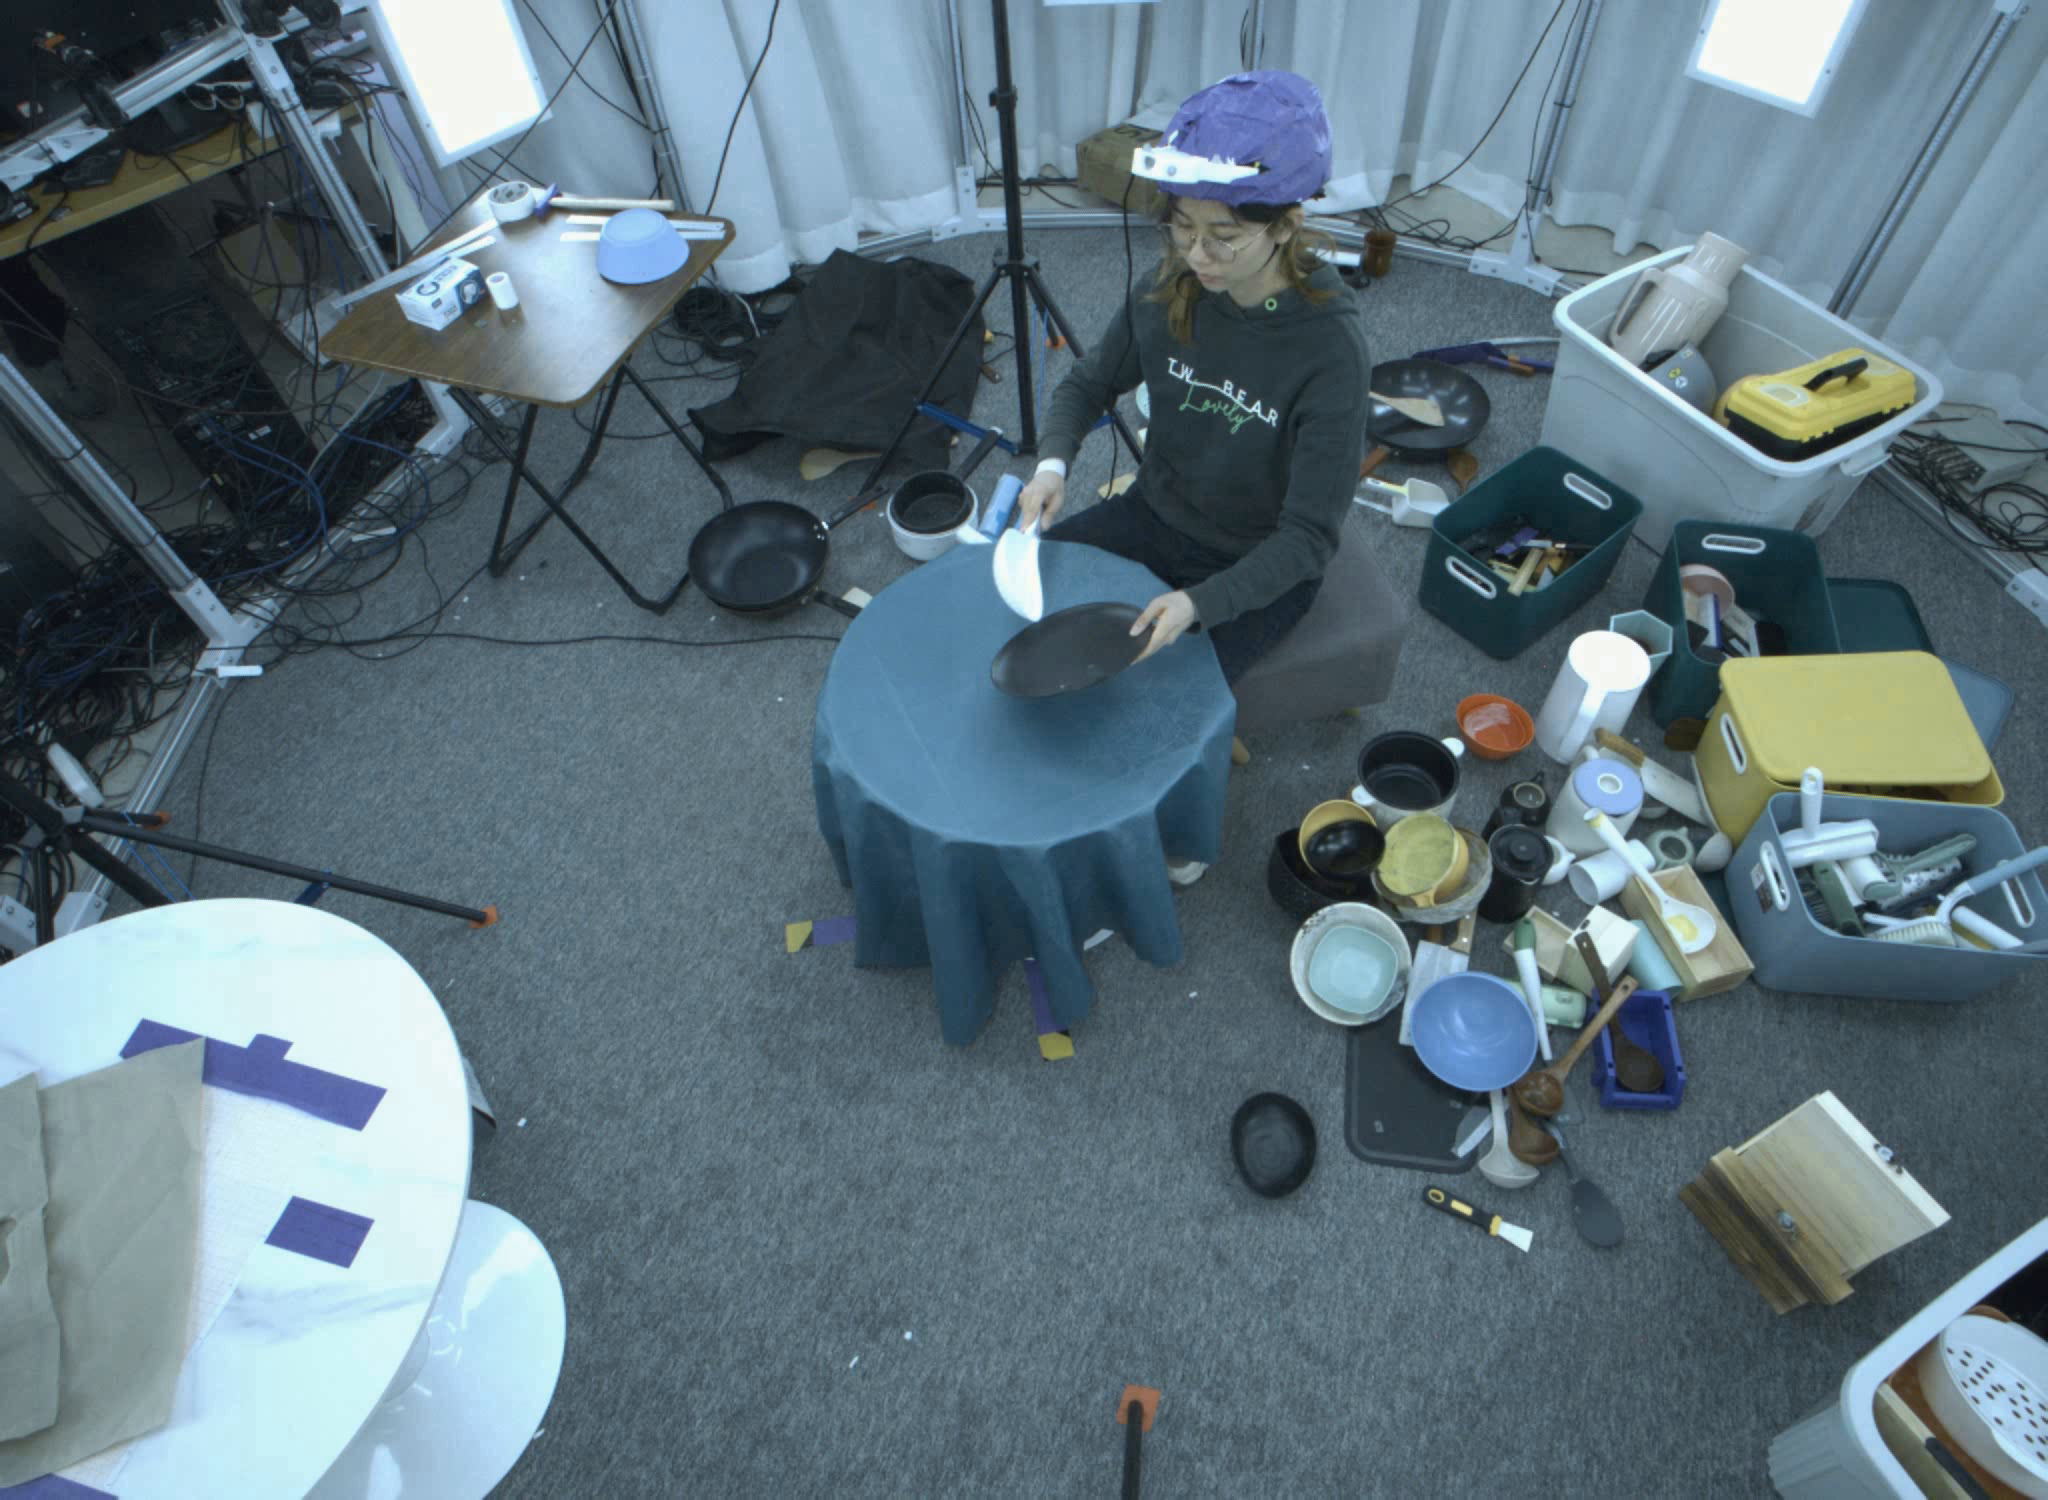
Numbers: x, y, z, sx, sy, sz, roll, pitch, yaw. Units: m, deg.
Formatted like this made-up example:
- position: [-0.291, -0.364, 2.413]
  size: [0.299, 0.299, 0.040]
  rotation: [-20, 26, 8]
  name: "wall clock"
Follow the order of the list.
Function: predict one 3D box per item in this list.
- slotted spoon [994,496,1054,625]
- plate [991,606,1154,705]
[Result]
- position: [0.009, -0.303, 1.828]
  size: [0.045, 0.138, 0.349]
  rotation: [-10, 32, 22]
  name: "slotted spoon"
- position: [0.071, -0.132, 1.768]
  size: [0.243, 0.024, 0.242]
  rotation: [-14, 34, 11]
  name: "plate"
